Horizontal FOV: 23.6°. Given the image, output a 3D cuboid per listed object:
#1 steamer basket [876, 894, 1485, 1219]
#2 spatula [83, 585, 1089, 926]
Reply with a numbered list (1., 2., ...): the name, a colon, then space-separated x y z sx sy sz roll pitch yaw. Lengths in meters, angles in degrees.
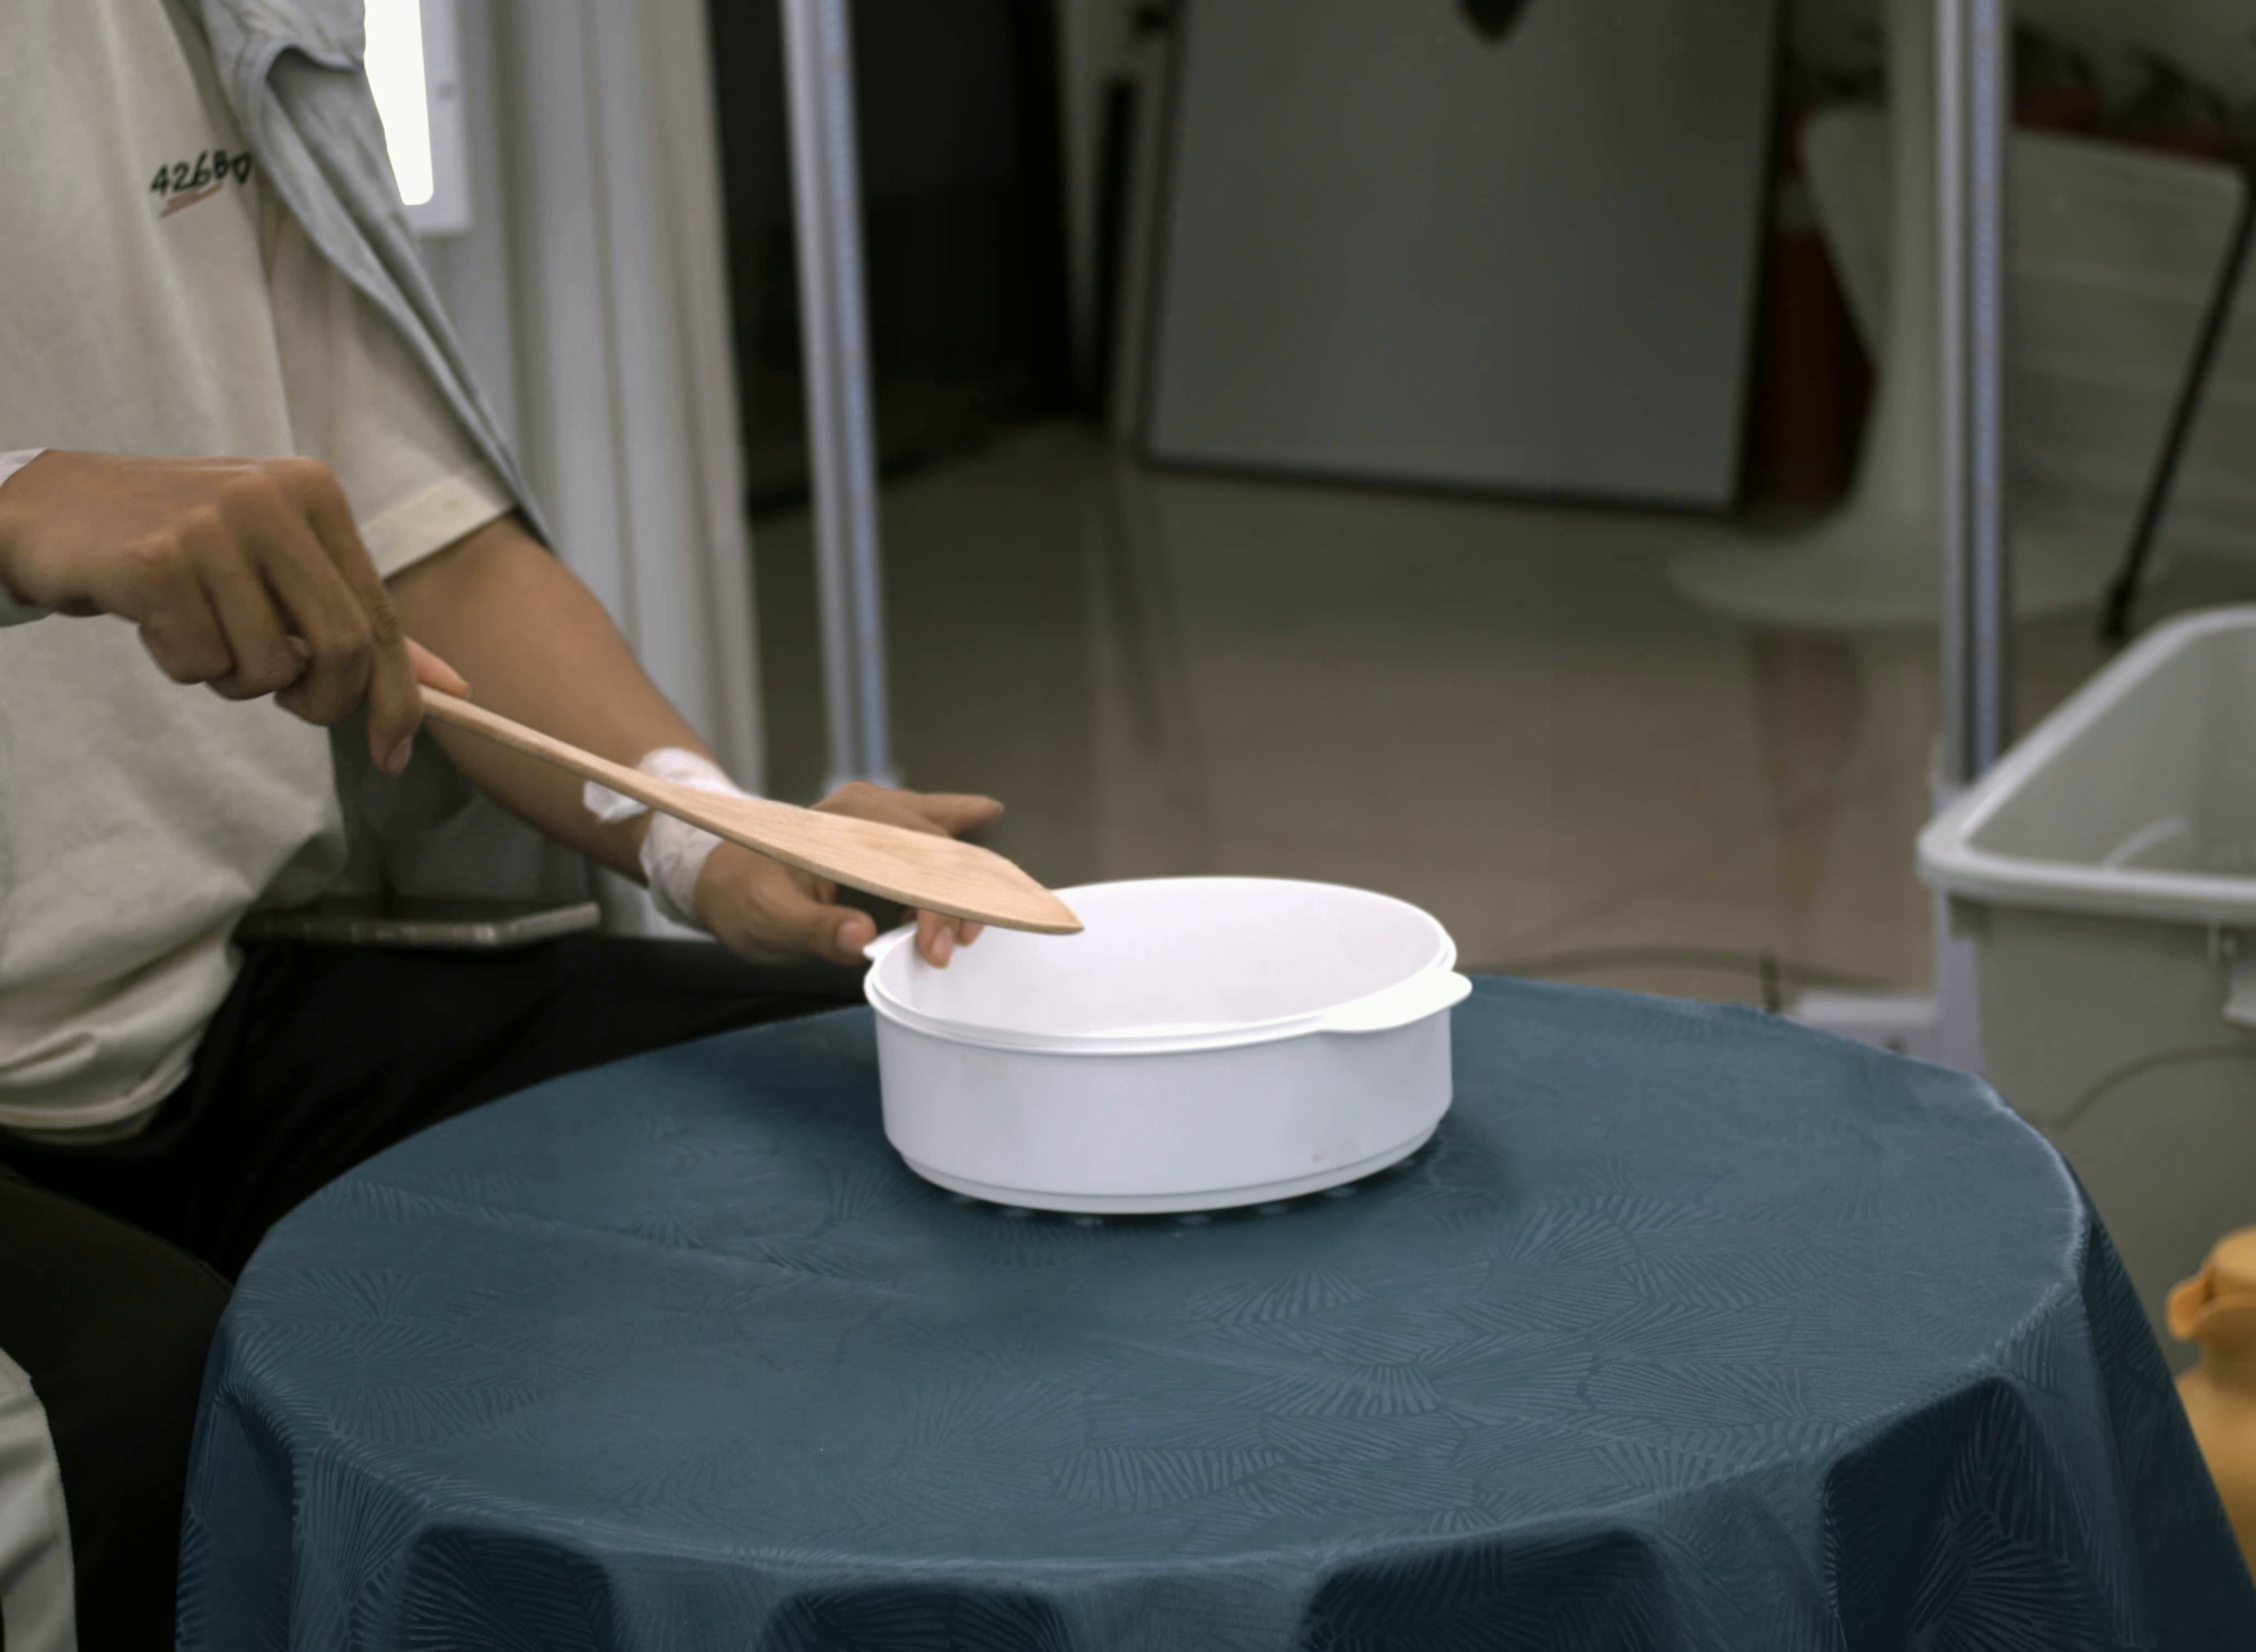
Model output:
1. steamer basket: 0.017 0.077 1.812 0.232 0.070 0.198 6 16 39
2. spatula: -0.166 -0.024 1.677 0.321 0.017 0.080 19 12 -19
